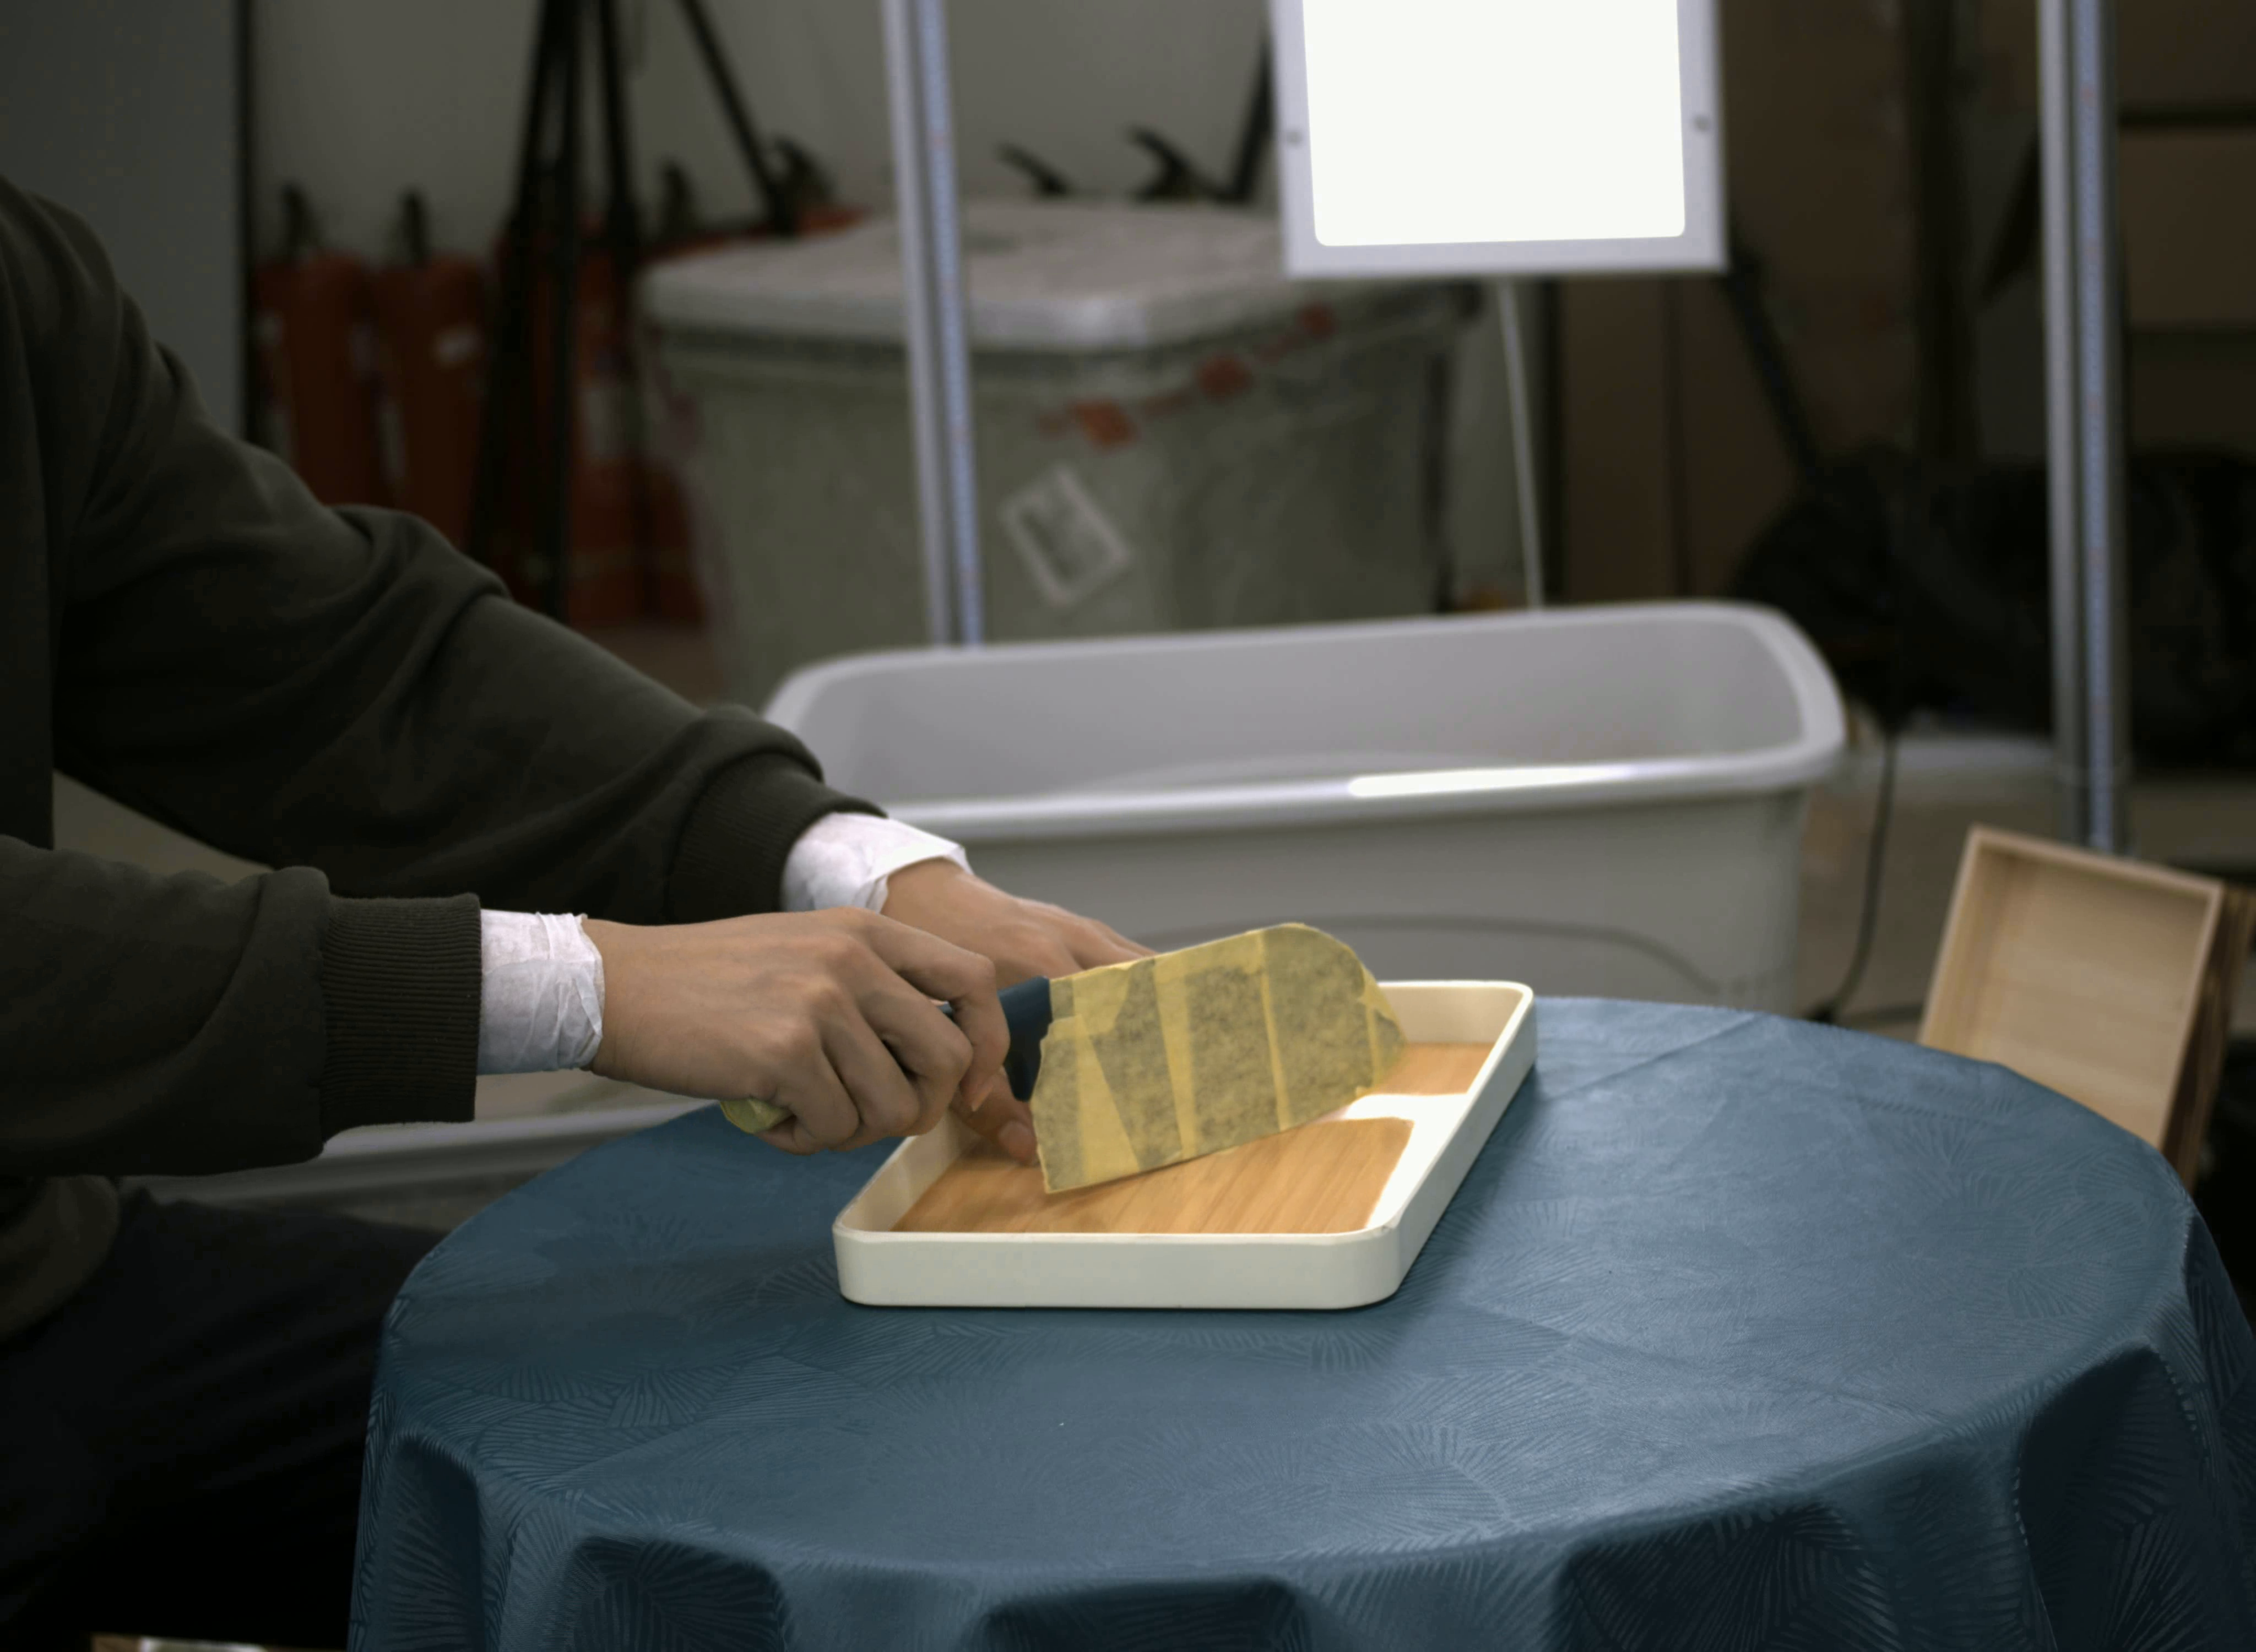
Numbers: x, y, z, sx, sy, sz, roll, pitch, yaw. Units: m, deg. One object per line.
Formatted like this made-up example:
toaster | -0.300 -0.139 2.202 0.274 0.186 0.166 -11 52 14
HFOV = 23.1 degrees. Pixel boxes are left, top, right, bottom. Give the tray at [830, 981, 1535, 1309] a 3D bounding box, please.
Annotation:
tray | 0.026 0.108 1.915 0.193 0.027 0.296 -2 13 16

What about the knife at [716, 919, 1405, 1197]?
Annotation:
knife | -0.016 0.084 1.885 0.282 0.081 0.028 -9 2 -34
